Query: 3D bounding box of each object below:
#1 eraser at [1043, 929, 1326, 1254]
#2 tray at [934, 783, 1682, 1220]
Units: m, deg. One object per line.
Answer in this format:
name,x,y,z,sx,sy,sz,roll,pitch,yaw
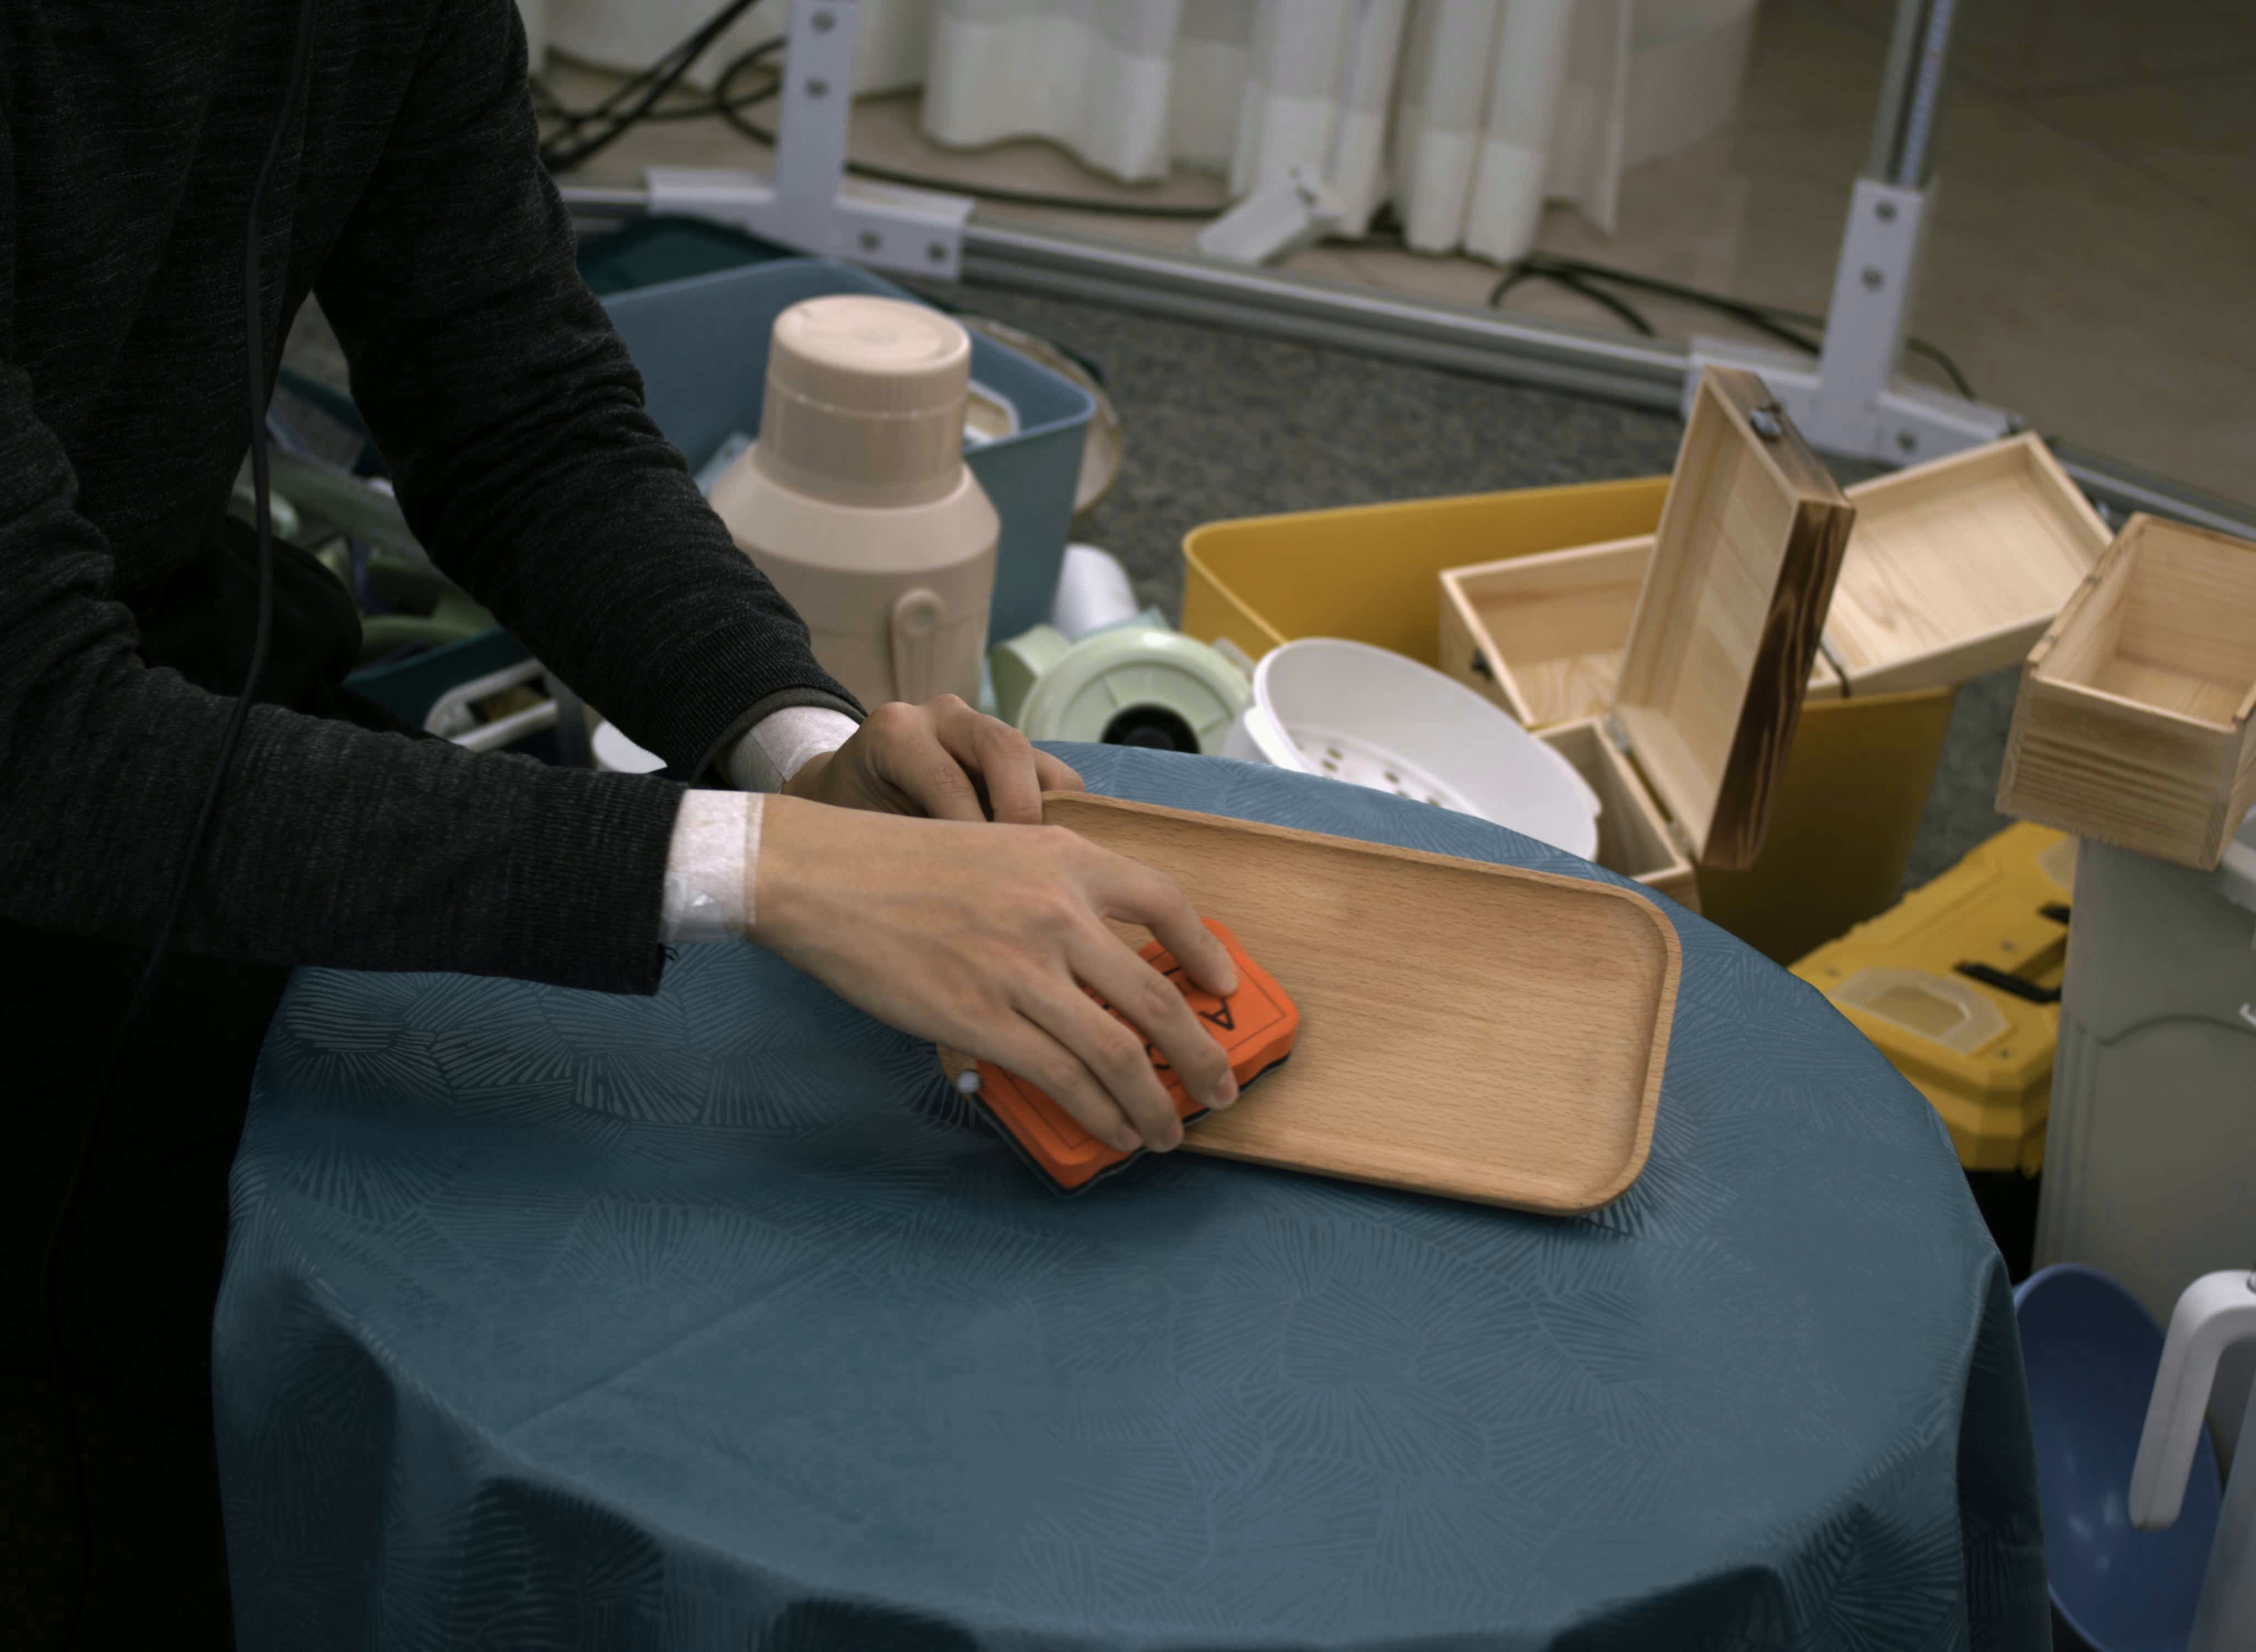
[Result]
eraser,0.020,0.090,1.814,0.059,0.023,0.108,27,62,15
tray,0.063,0.061,1.849,0.250,0.023,0.131,10,60,8
